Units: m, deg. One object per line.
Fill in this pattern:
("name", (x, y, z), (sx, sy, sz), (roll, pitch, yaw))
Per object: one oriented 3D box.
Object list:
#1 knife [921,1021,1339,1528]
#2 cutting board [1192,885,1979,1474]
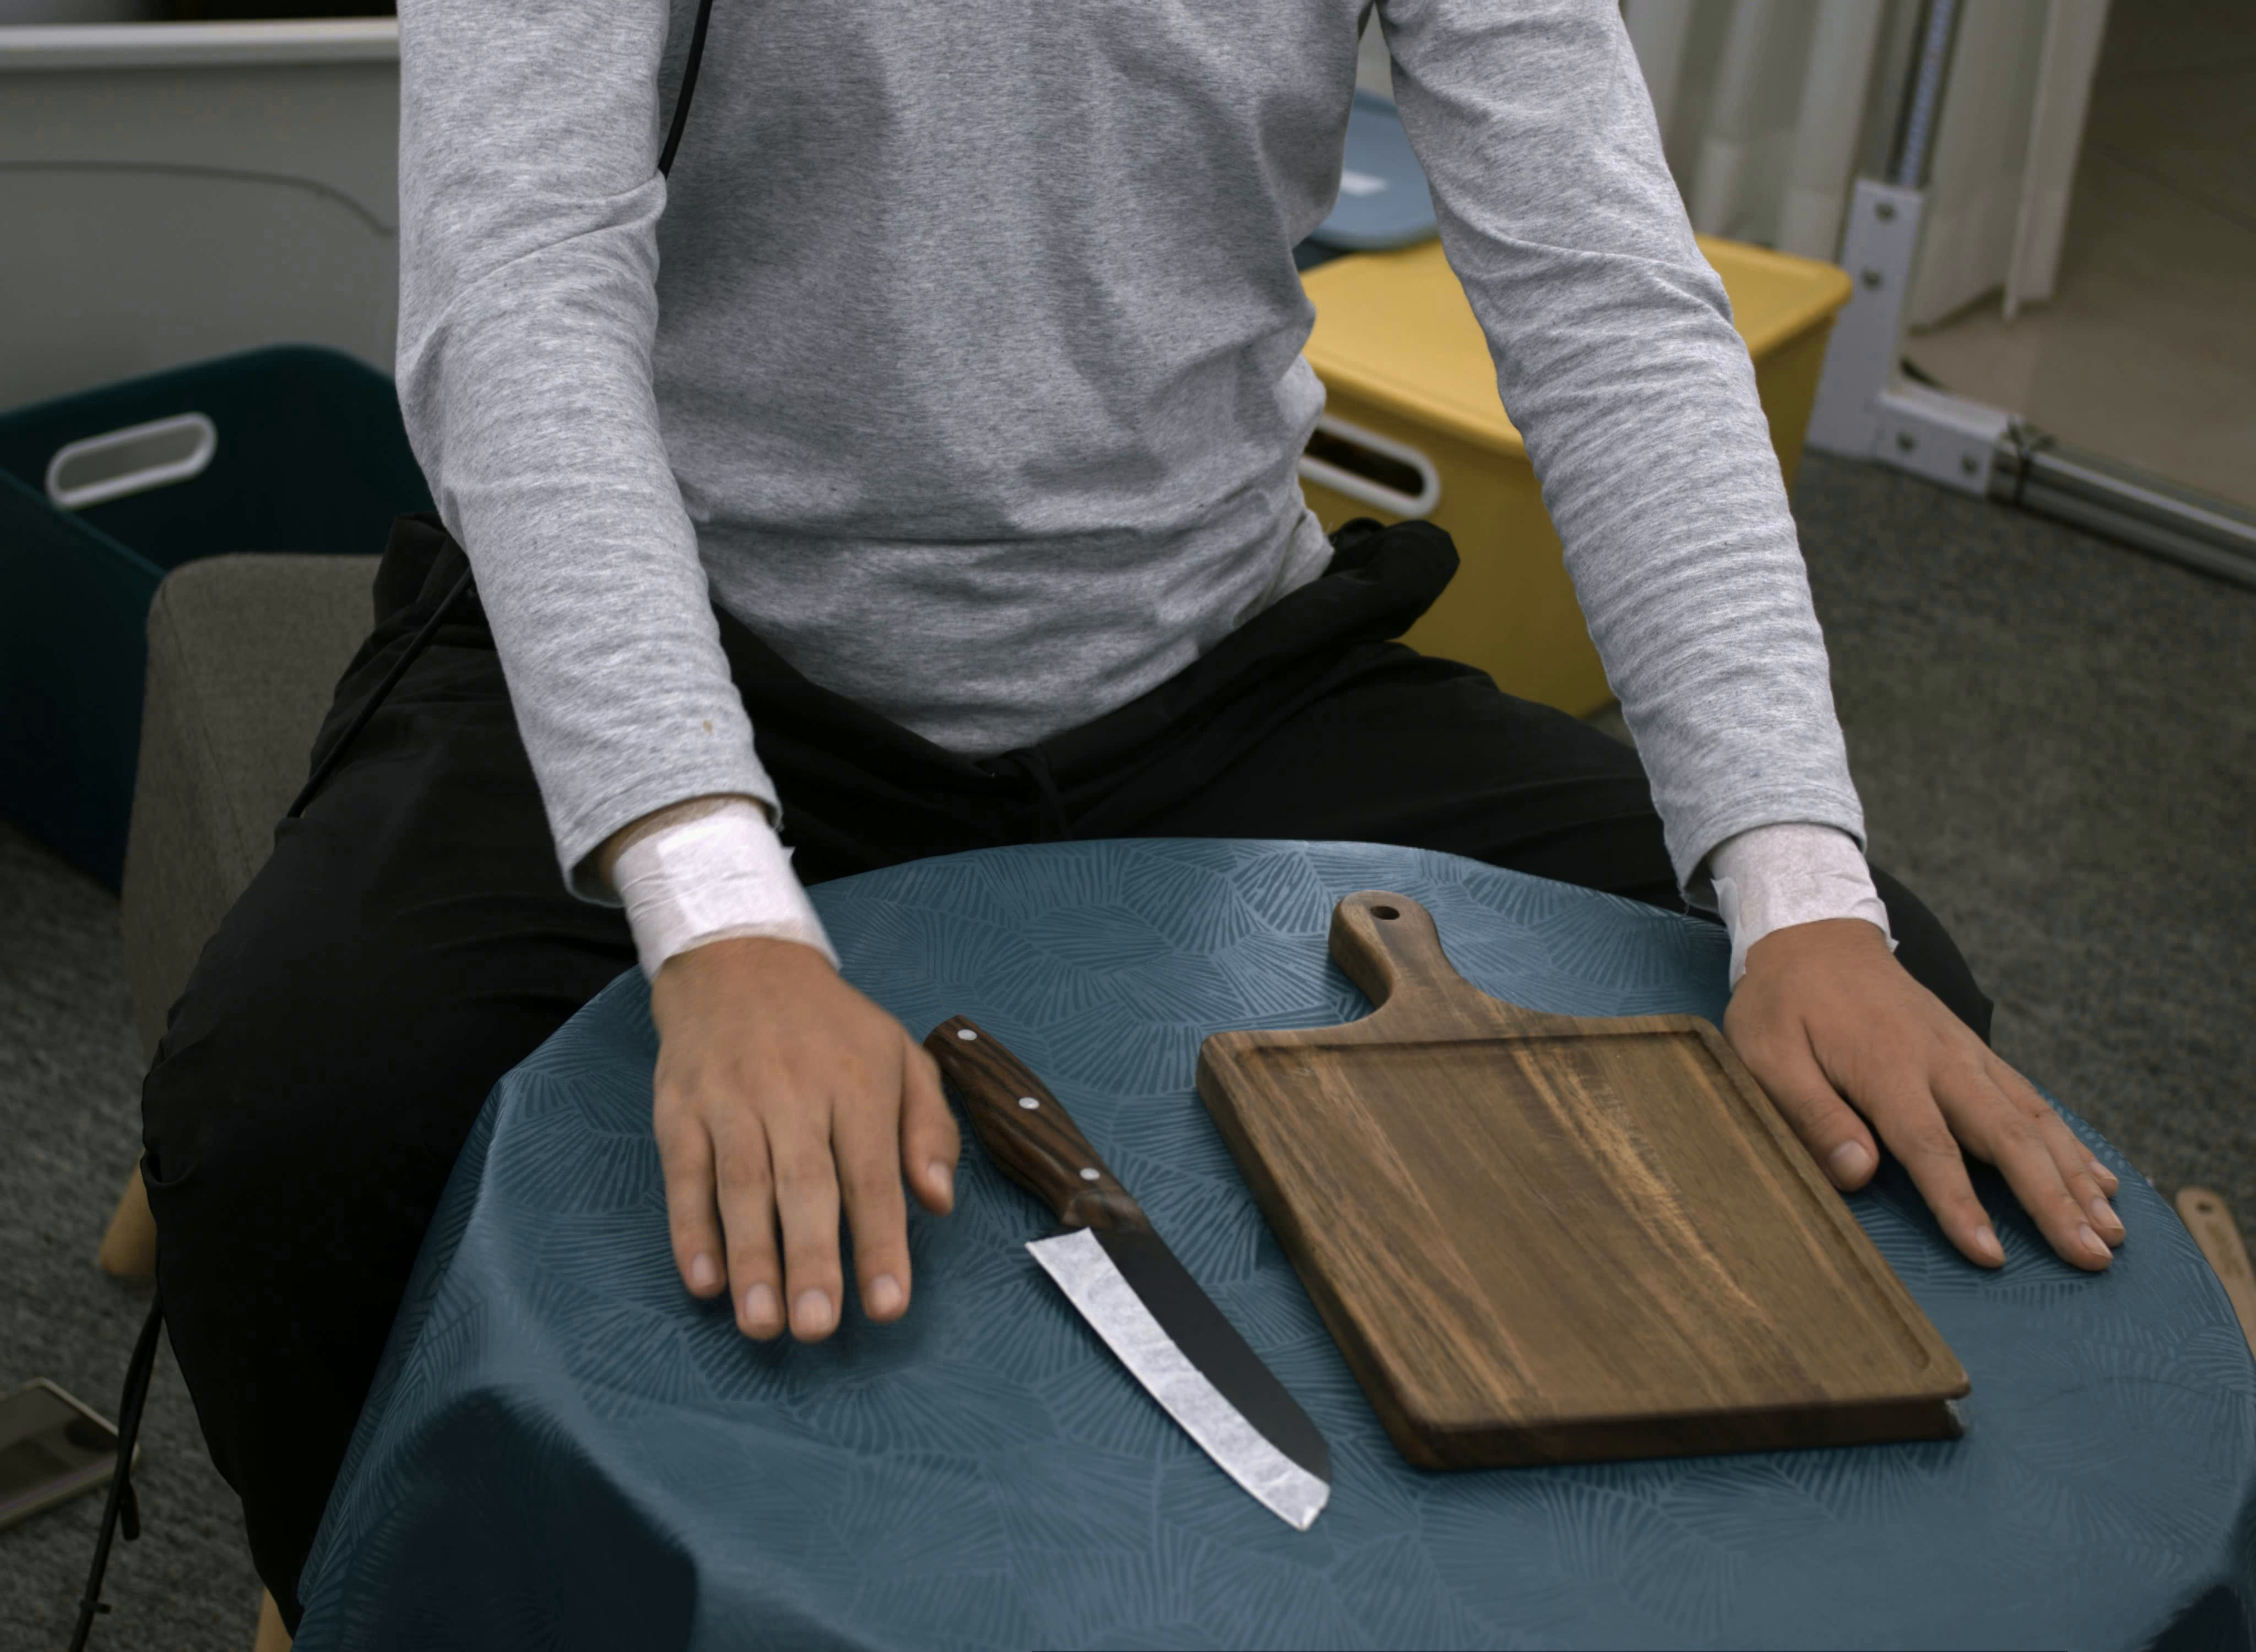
("knife", (-0.003, 0.145, 1.746), (0.050, 0.020, 0.292), (-11, 33, -23))
("cutting board", (0.136, 0.112, 1.837), (0.200, 0.023, 0.355), (-1, 28, -17))
